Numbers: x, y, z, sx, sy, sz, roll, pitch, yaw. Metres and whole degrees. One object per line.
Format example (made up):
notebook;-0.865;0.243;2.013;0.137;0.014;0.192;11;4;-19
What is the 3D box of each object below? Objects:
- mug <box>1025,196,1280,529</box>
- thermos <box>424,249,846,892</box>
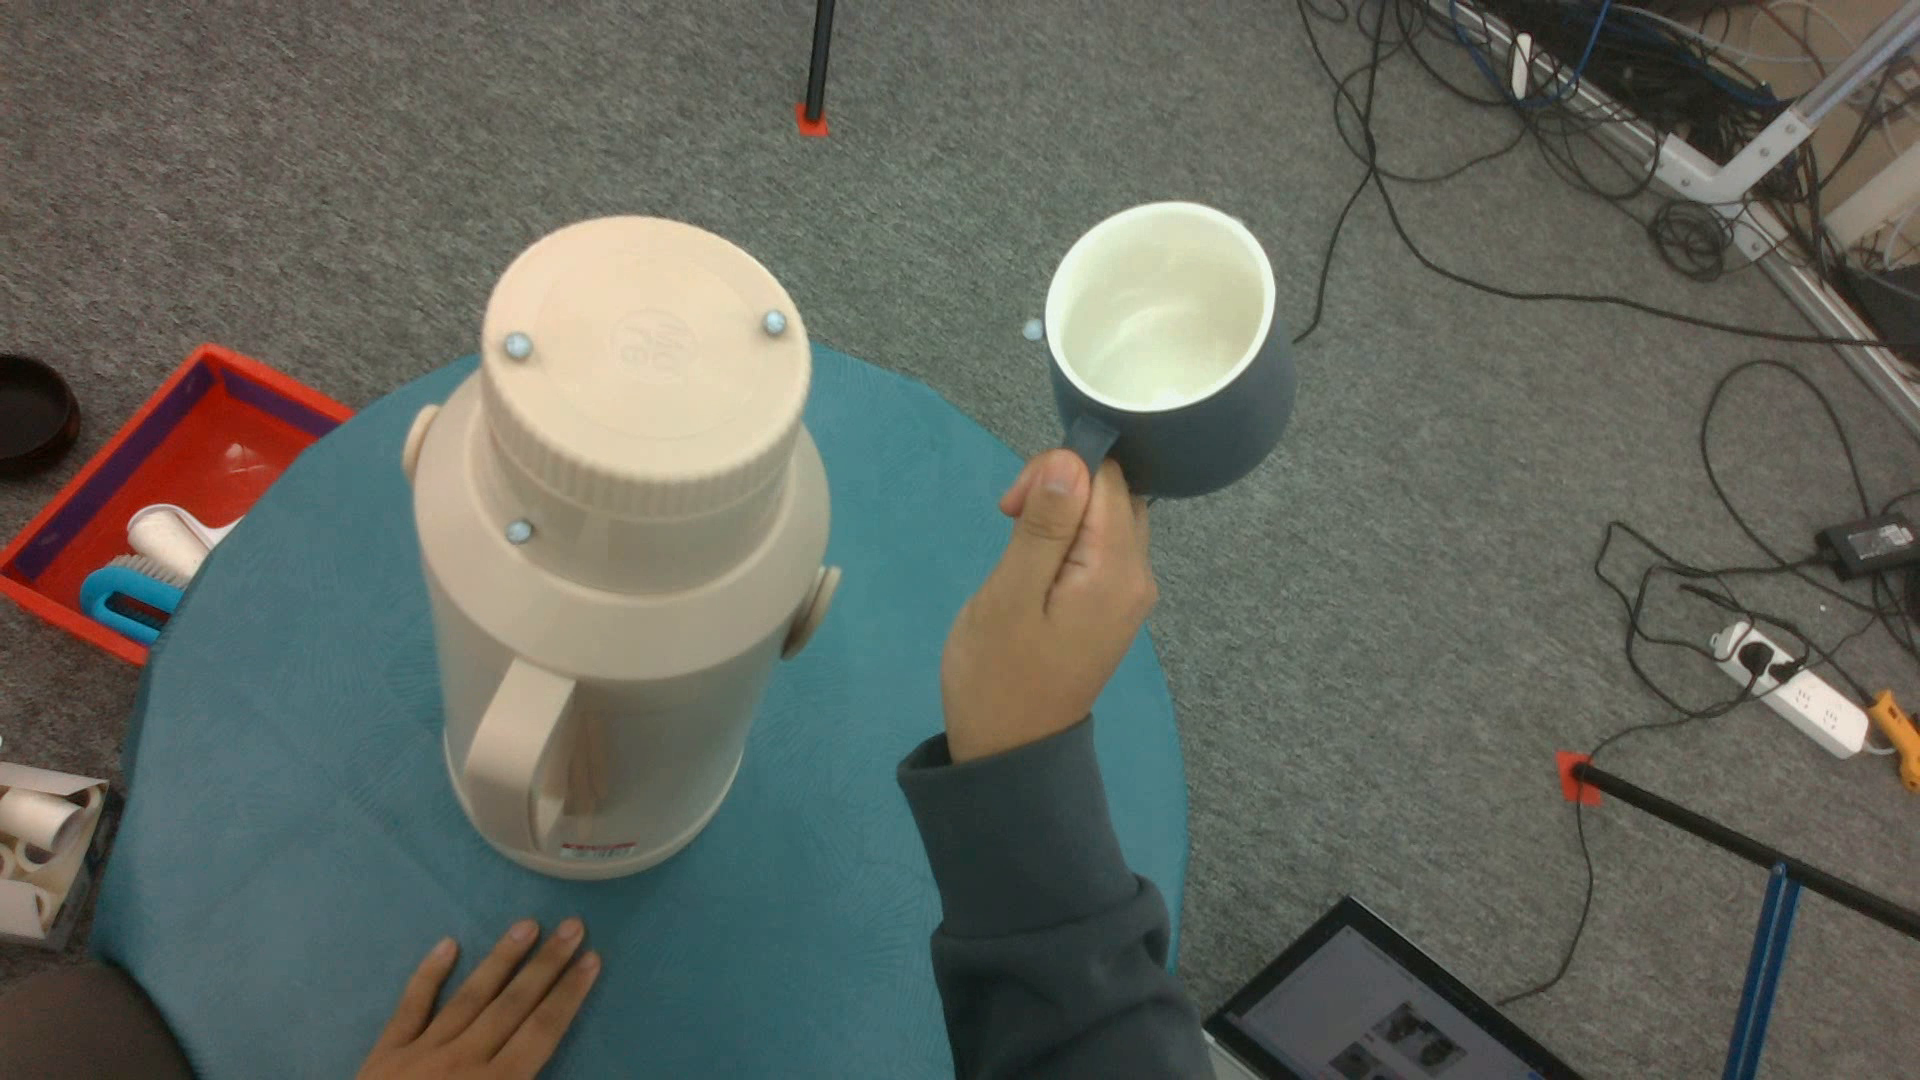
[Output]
mug;0.064;-0.061;0.522;0.093;0.090;0.123;30;85;21
thermos;-0.156;0.046;0.628;0.175;0.404;0.208;20;58;-6
